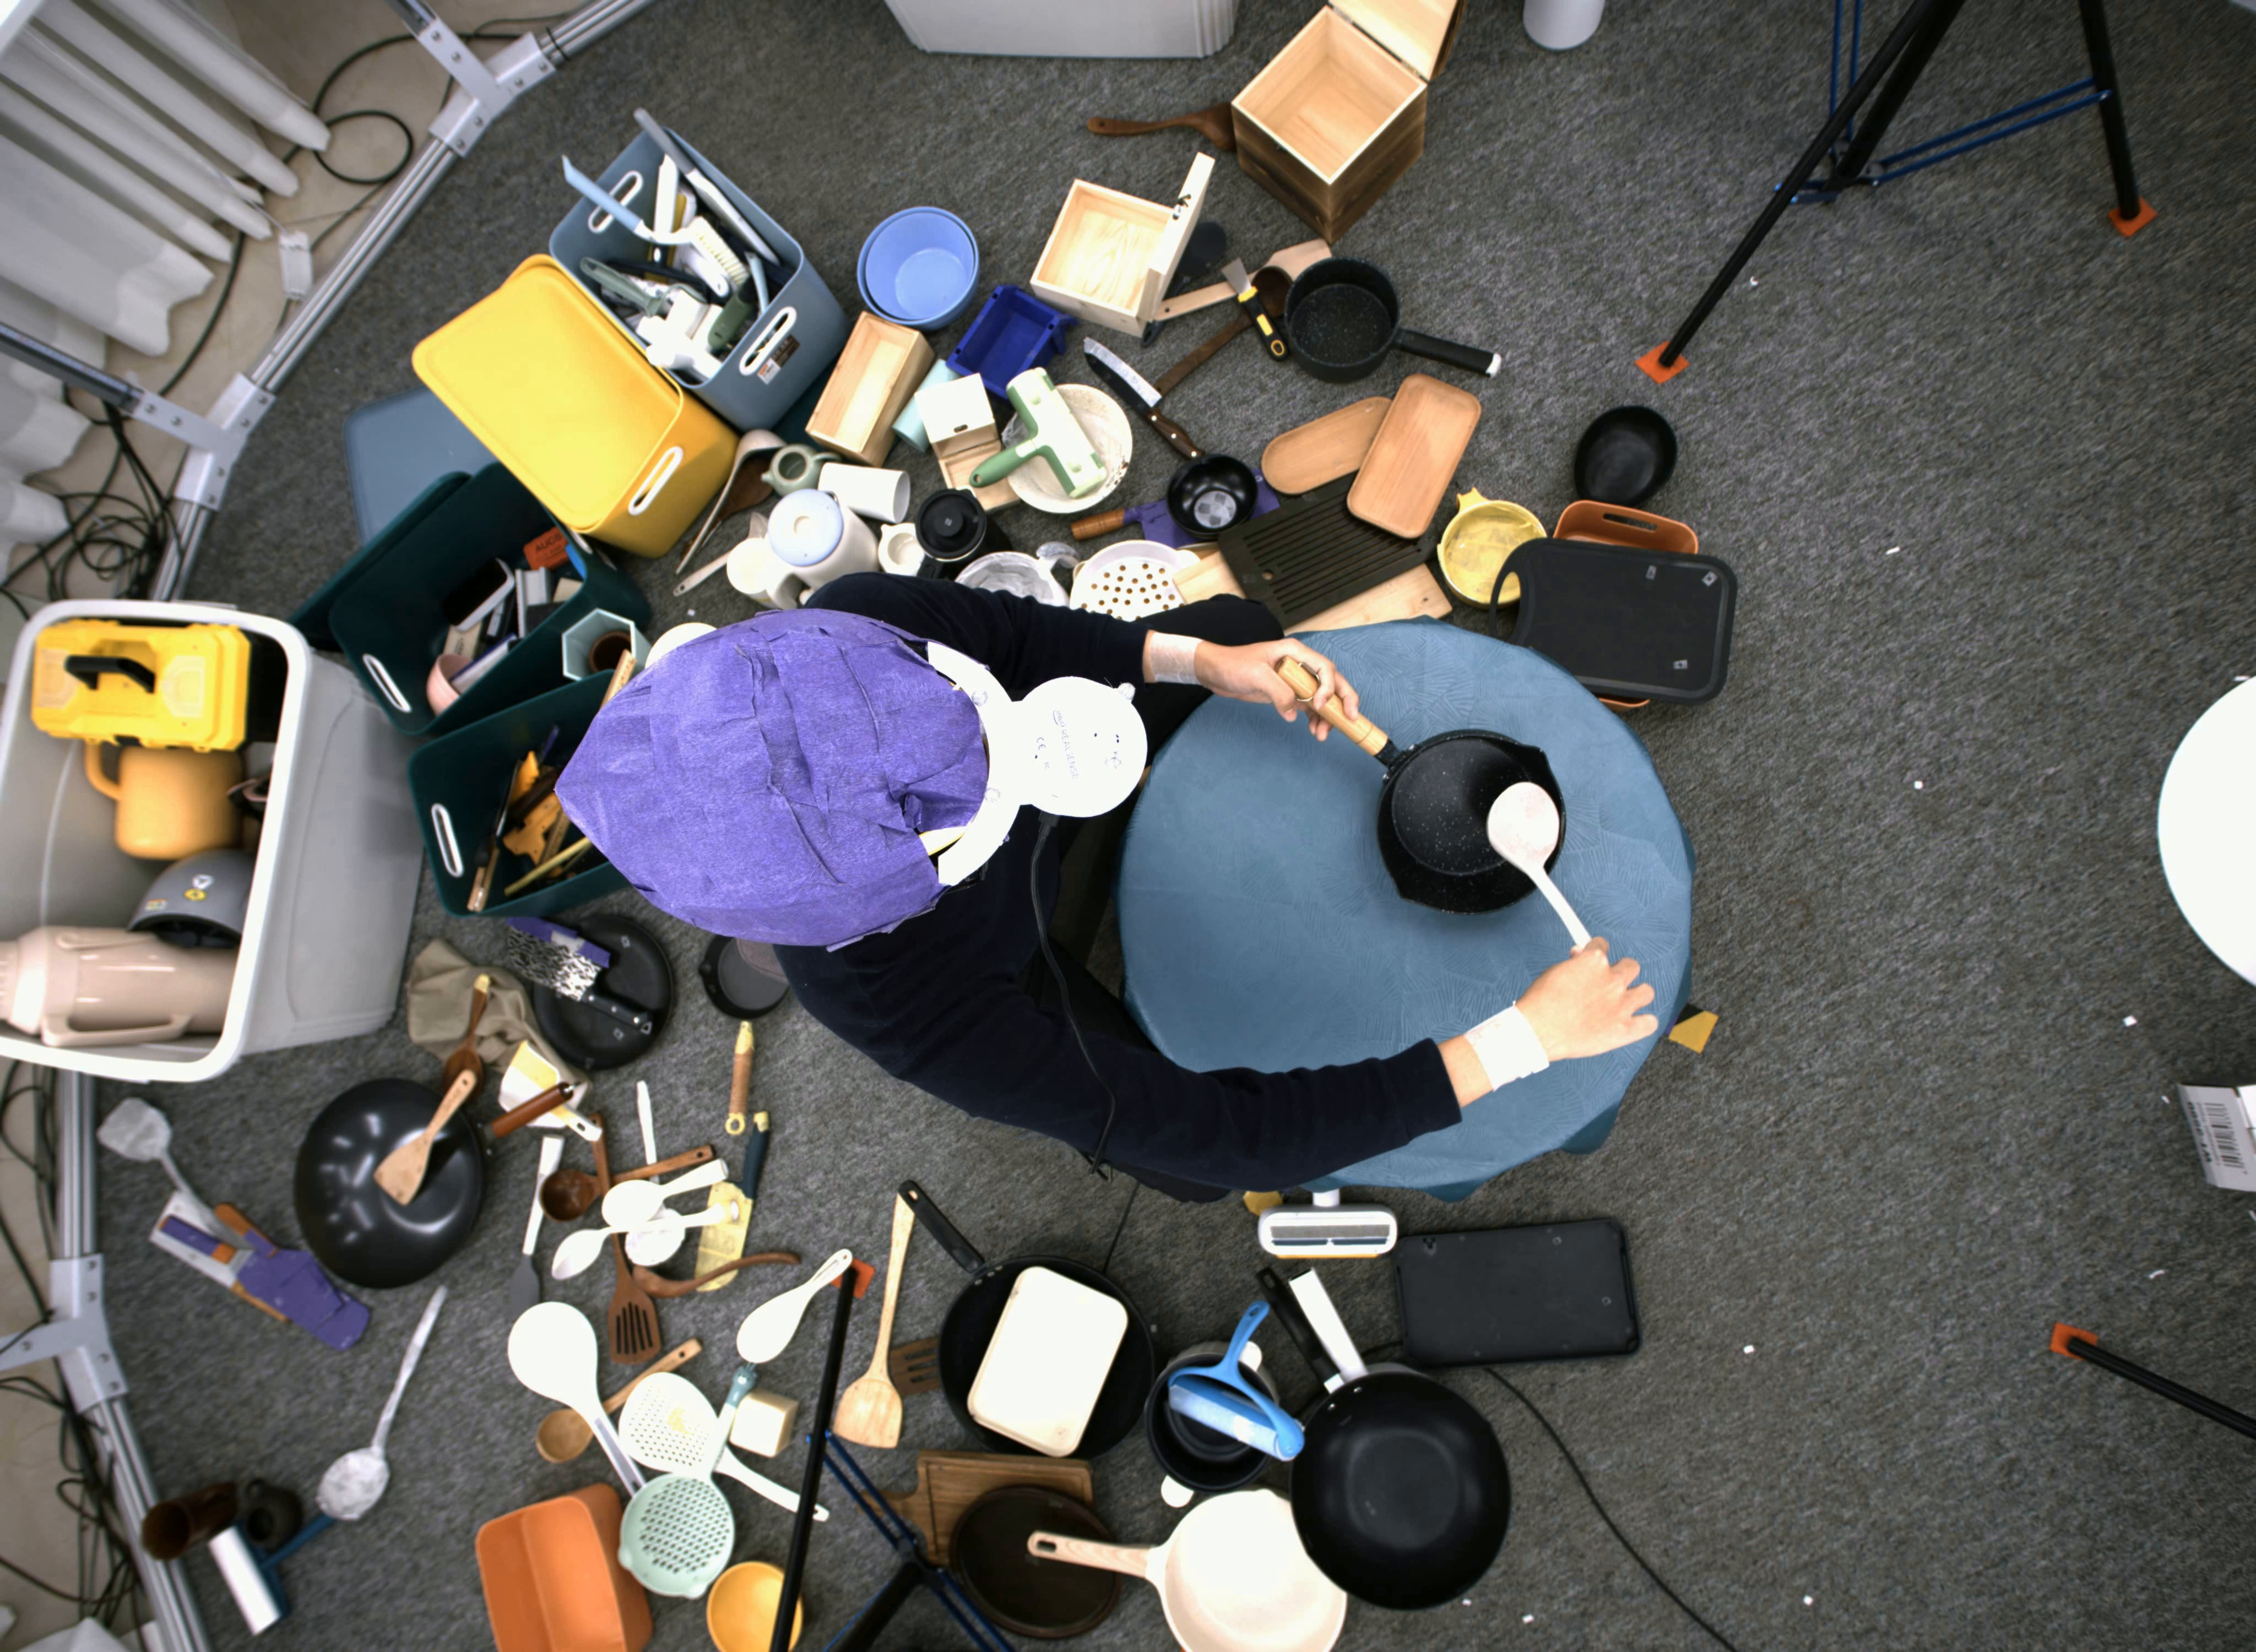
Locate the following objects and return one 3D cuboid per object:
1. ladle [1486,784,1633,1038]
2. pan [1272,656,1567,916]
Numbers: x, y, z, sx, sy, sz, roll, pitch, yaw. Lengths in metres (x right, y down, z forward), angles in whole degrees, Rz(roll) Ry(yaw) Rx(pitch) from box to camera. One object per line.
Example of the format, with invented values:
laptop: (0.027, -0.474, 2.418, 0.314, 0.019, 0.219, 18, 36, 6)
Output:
ladle: (0.413, 0.068, 1.266, 0.071, 0.089, 0.268, -58, 34, 31)
pan: (0.277, -0.058, 1.370, 0.343, 0.106, 0.210, 38, 109, -5)
